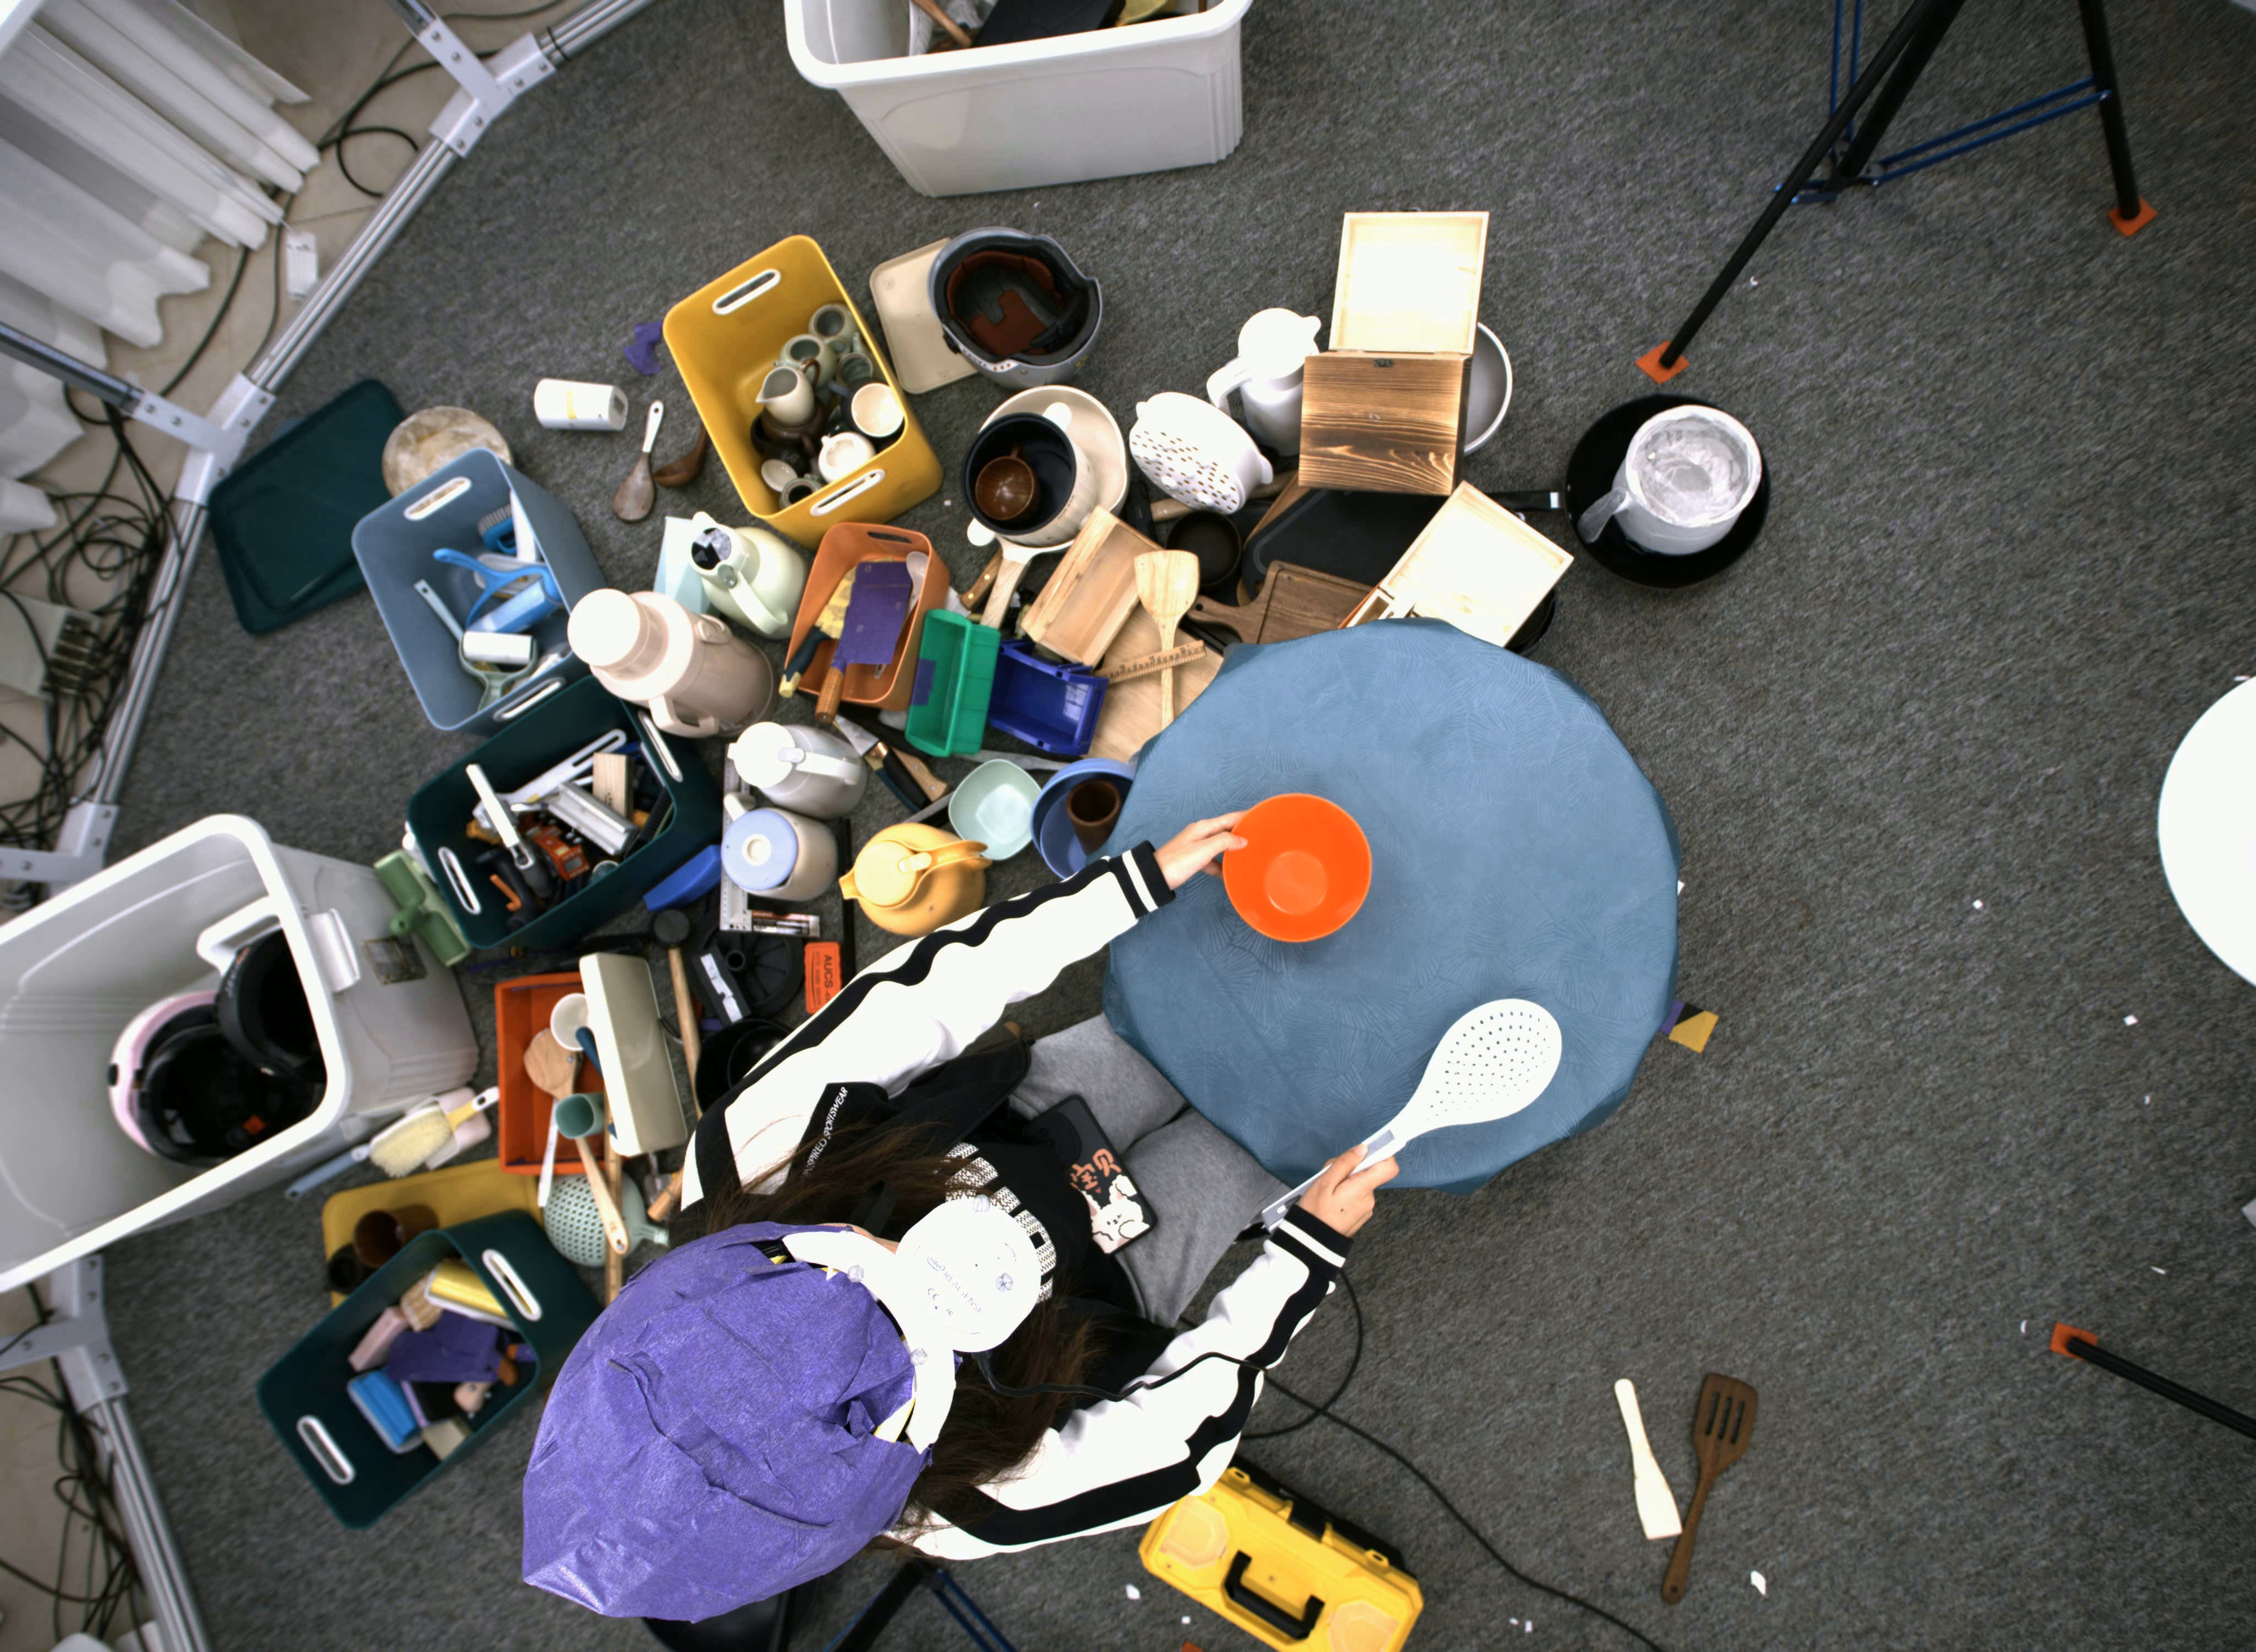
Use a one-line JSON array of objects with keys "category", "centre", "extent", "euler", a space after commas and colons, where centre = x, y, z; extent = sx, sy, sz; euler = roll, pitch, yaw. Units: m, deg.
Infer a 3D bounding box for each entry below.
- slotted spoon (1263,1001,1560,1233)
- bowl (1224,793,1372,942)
[{"category": "slotted spoon", "centre": [0.278, 0.296, 1.371], "extent": [0.352, 0.133, 0.046], "euler": [-34, 122, 8]}, {"category": "bowl", "centre": [0.173, 0.044, 1.418], "extent": [0.148, 0.104, 0.147], "euler": [0, 88, 6]}]
